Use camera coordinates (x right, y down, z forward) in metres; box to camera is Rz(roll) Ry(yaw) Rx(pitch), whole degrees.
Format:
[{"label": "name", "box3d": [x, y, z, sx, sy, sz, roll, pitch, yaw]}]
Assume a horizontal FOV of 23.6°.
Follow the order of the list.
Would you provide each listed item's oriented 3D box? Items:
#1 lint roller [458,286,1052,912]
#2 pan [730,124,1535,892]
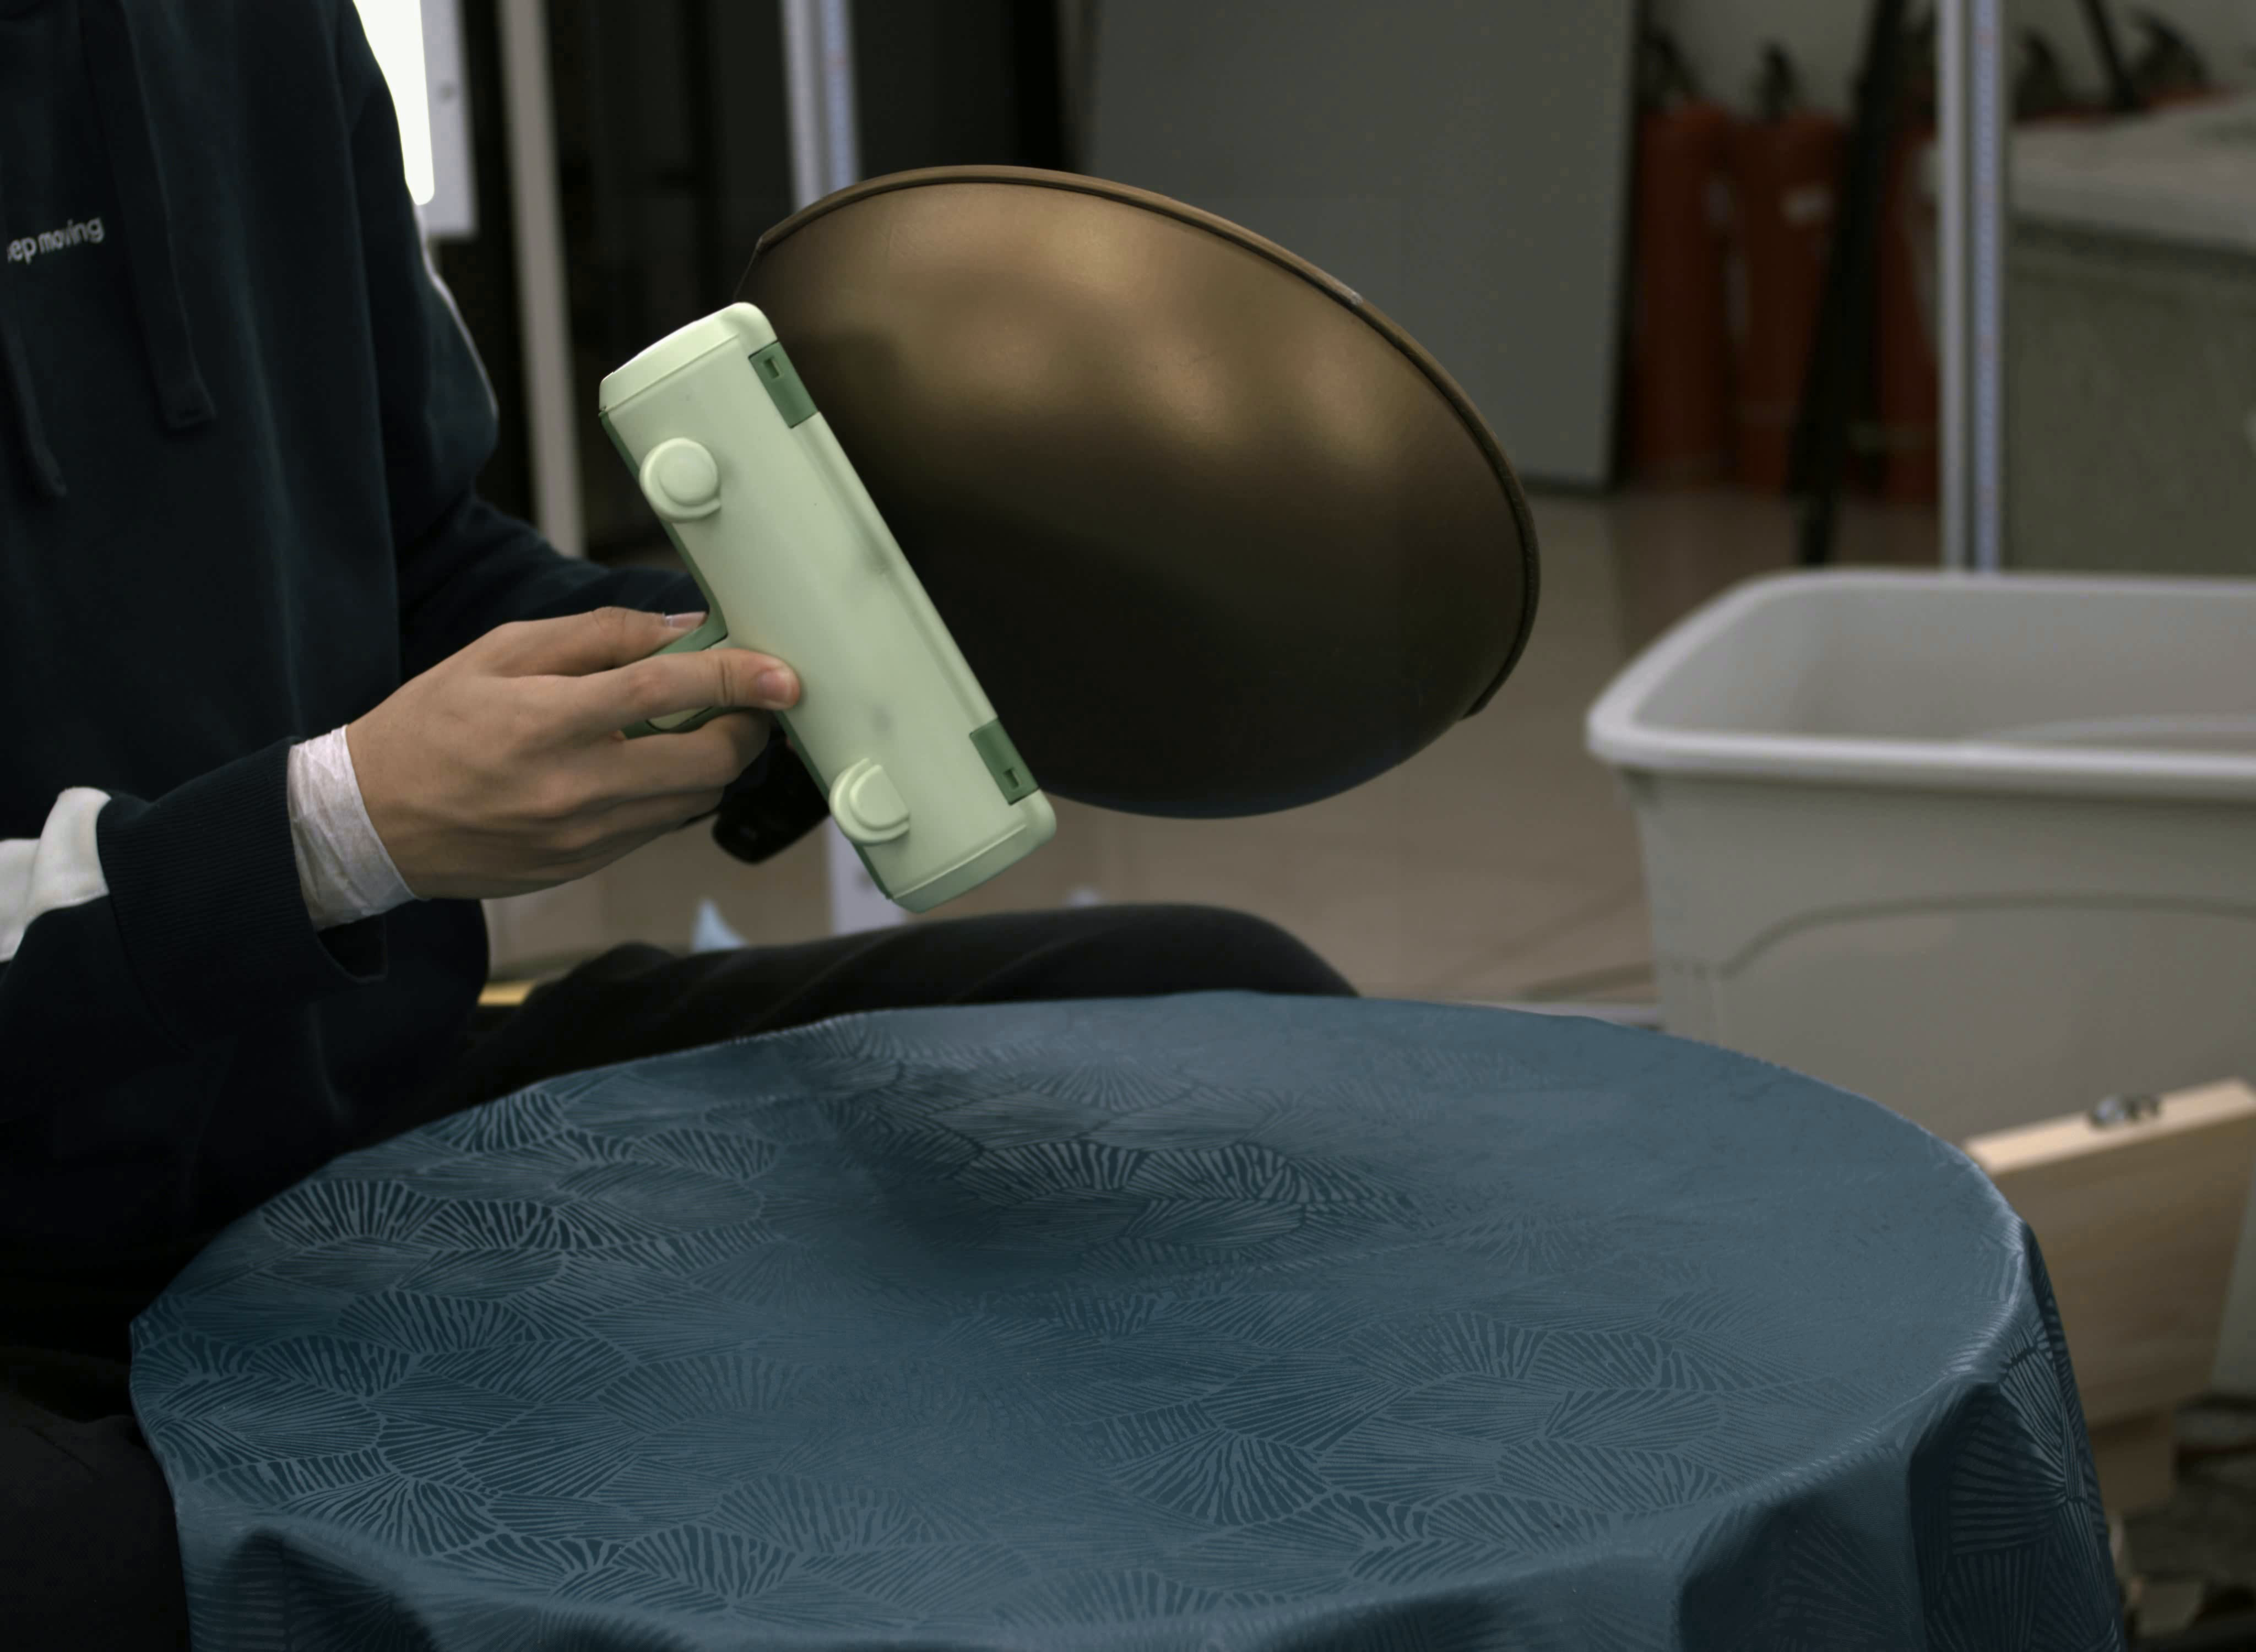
[{"label": "lint roller", "box3d": [-0.144, -0.041, 1.692, 0.183, 0.199, 0.081, -29, 4, 17]}, {"label": "pan", "box3d": [-0.054, -0.056, 1.808, 0.468, 0.285, 0.087, -42, 18, 53]}]
